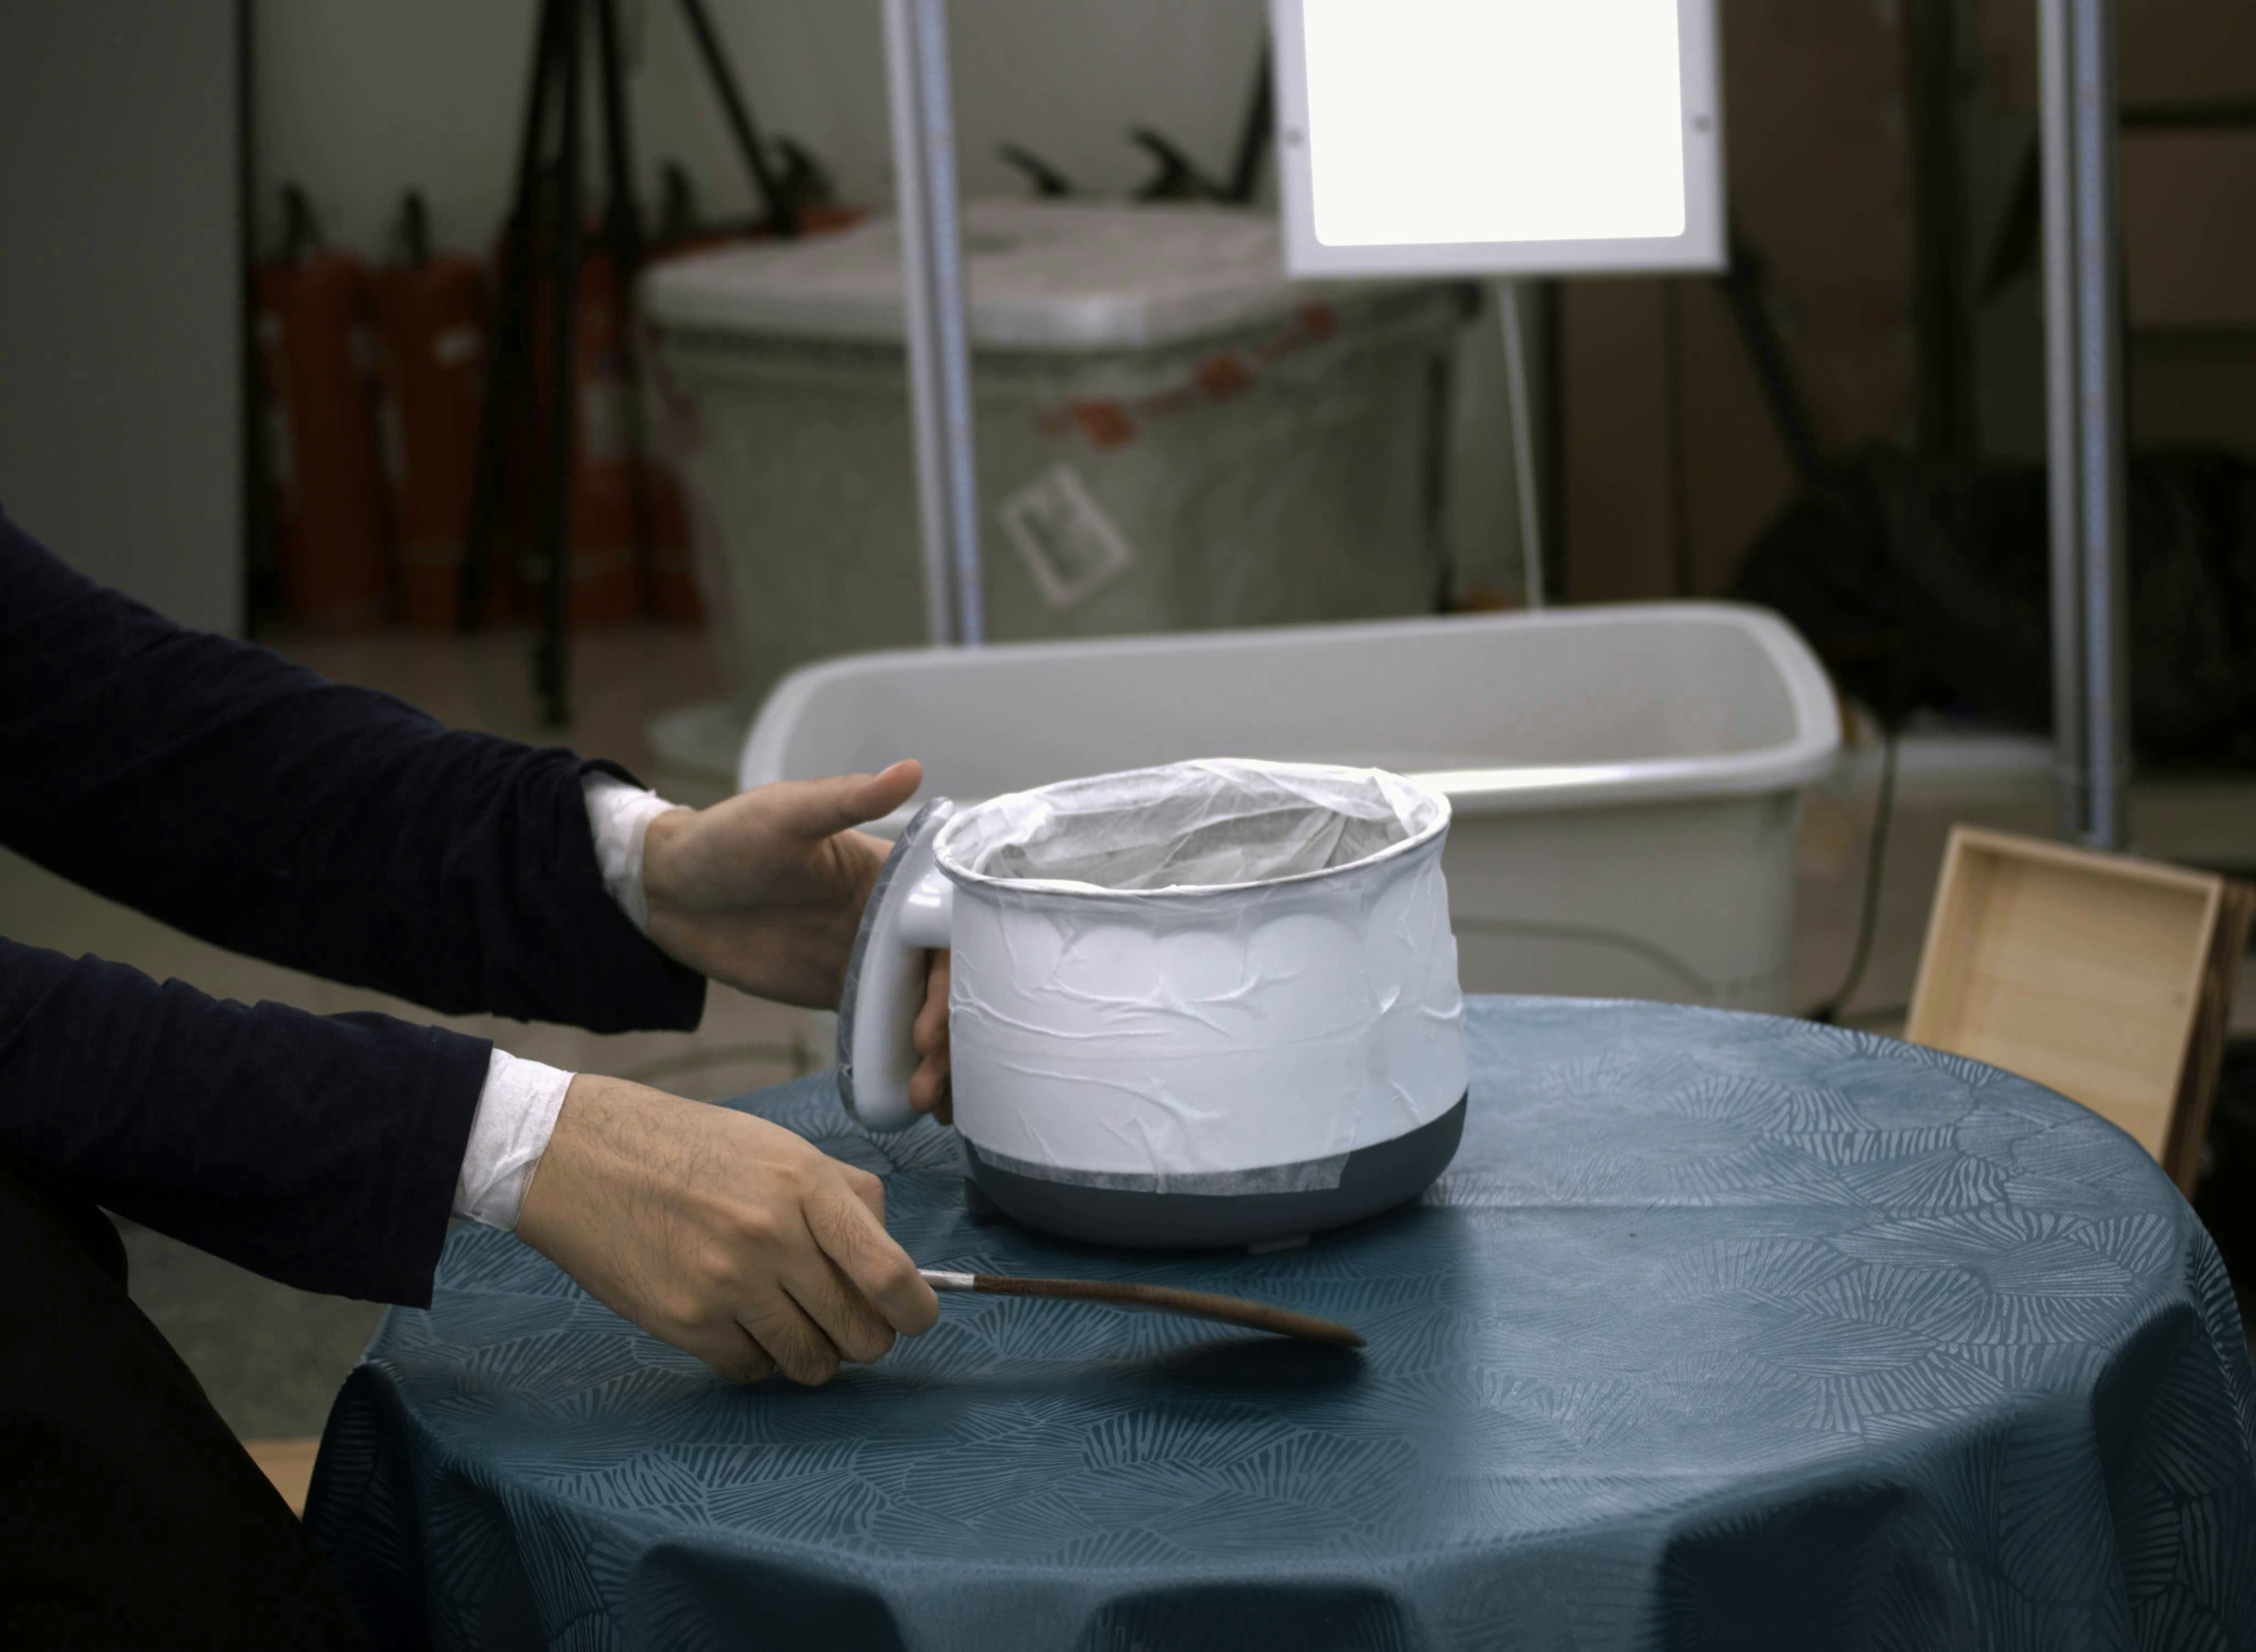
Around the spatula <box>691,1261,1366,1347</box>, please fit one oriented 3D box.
[{"bbox_3d":[-0.032,0.149,1.721,0.217,0.009,0.071,4,-12,13],"label":"spatula"}]

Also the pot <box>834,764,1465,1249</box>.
[{"bbox_3d":[0.002,0.058,1.887,0.238,0.137,0.175,4,14,28],"label":"pot"}]
